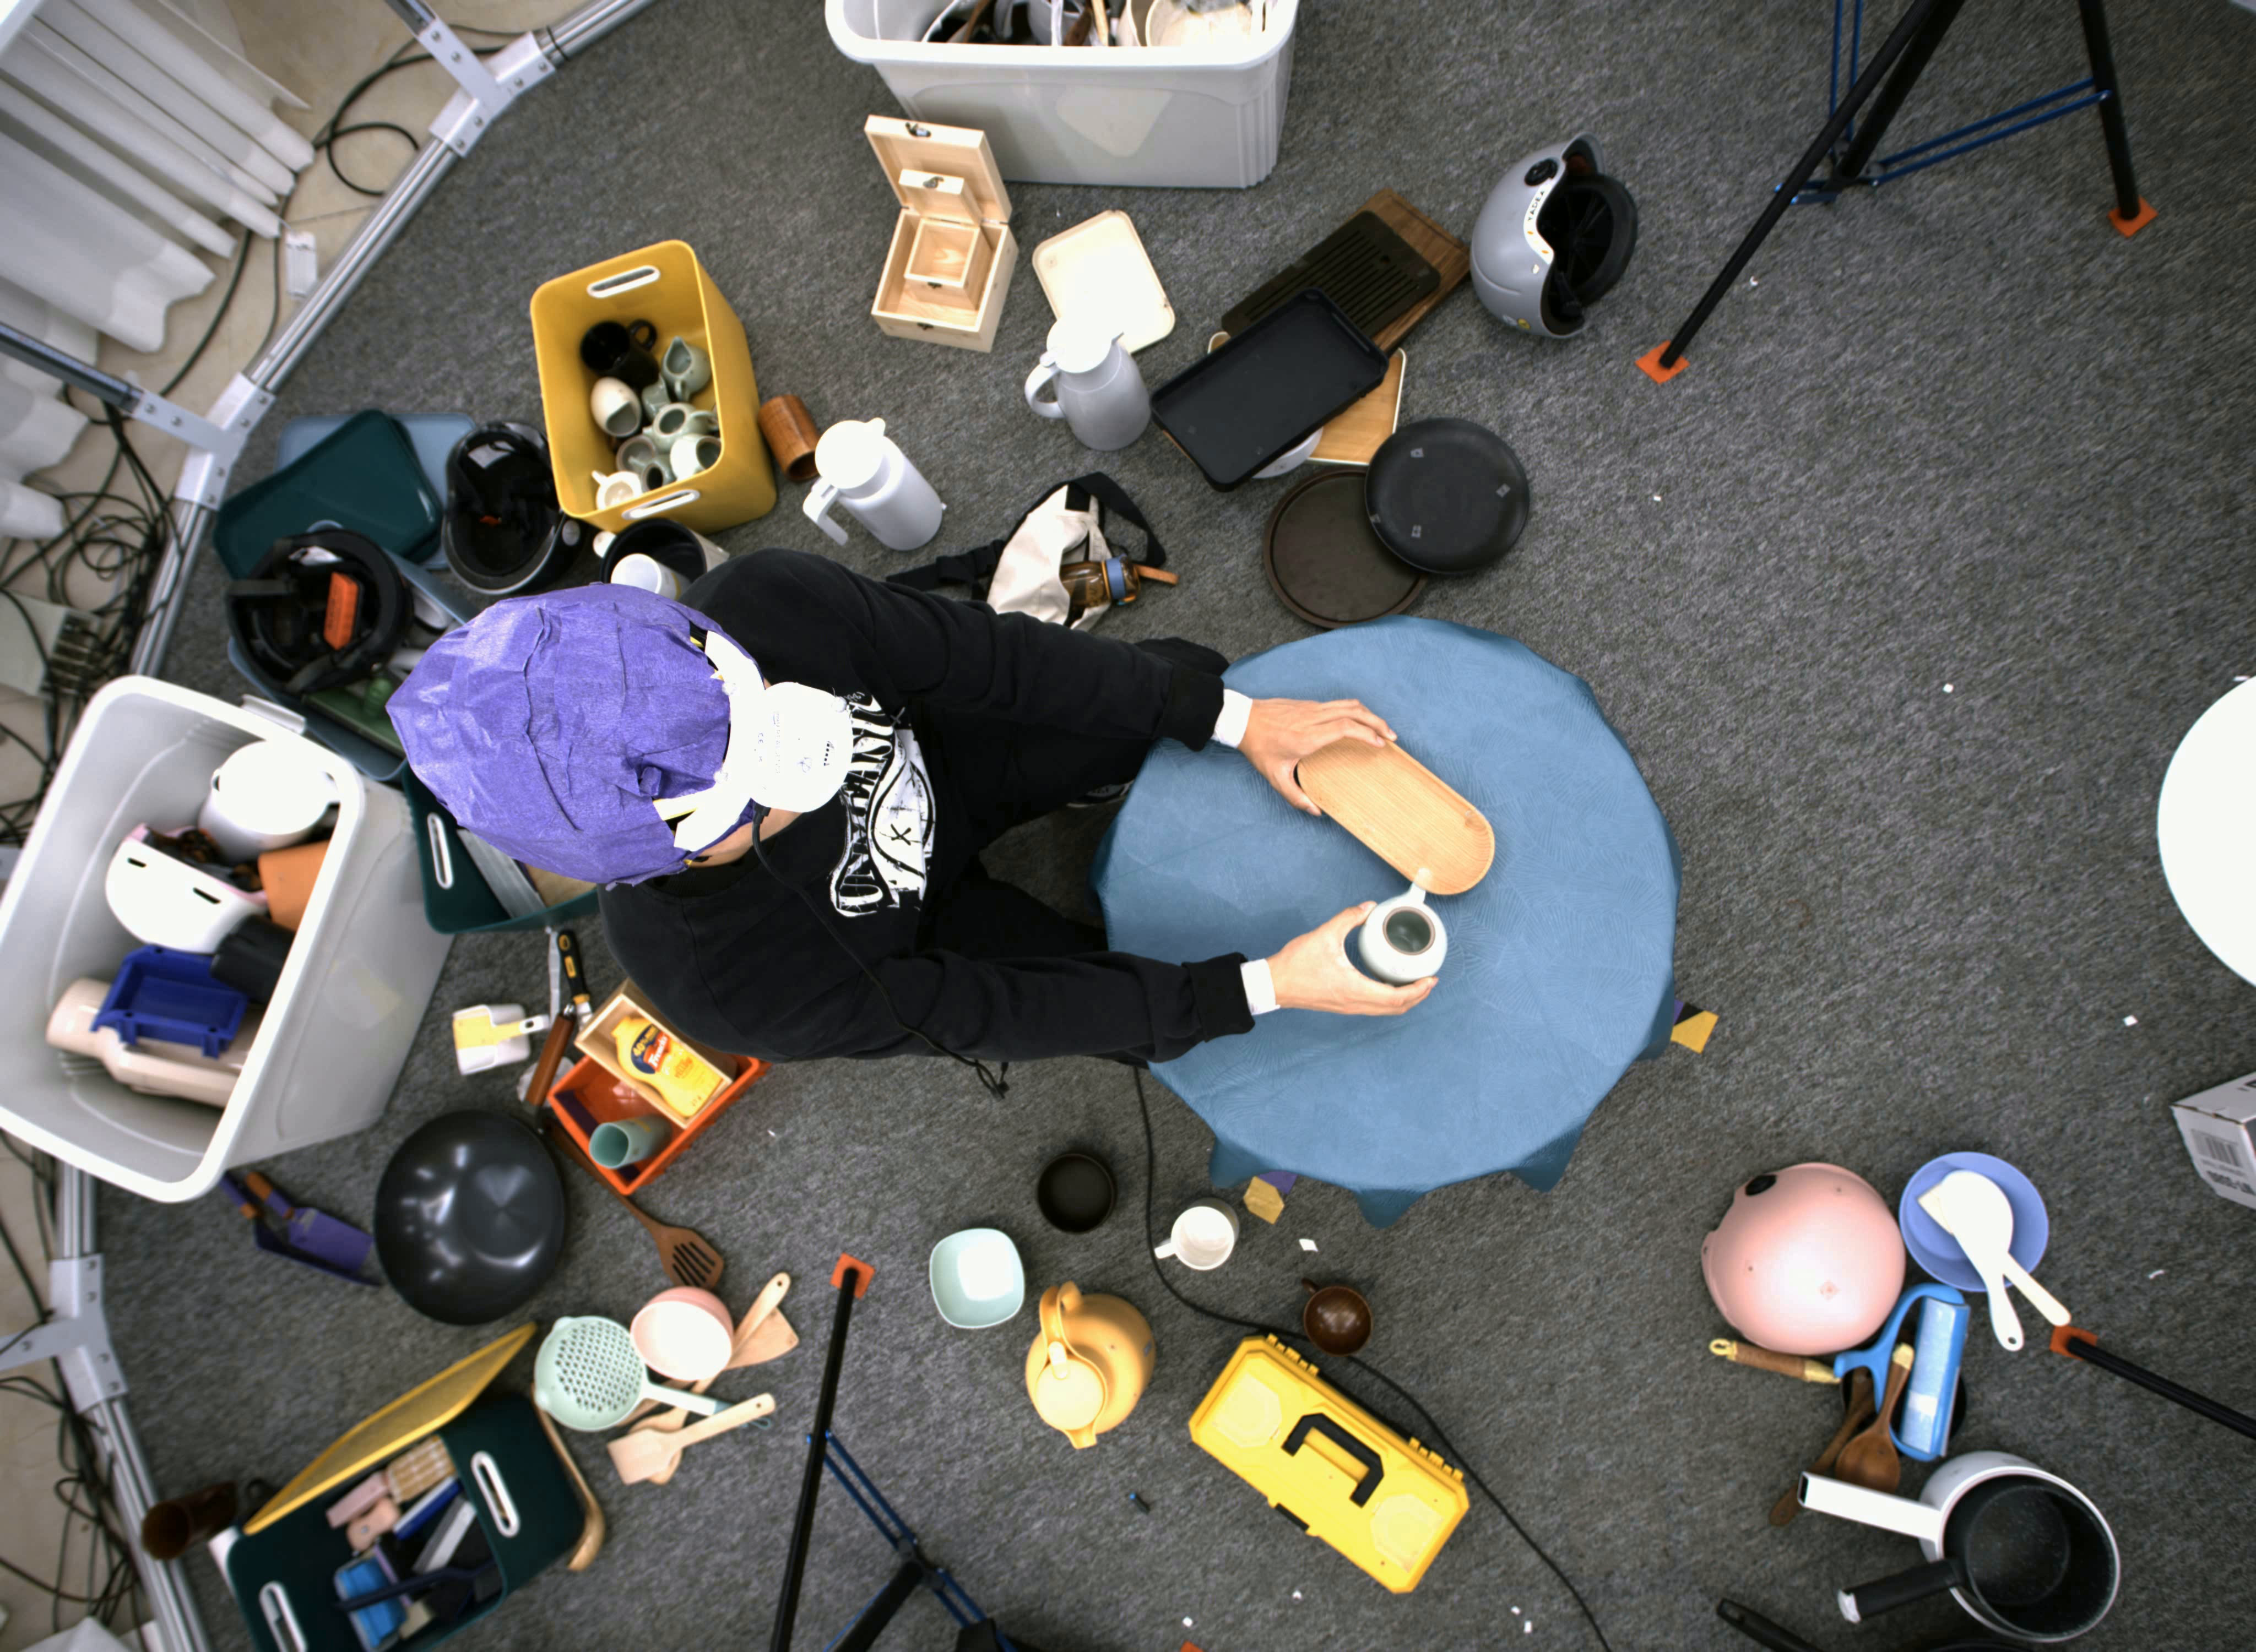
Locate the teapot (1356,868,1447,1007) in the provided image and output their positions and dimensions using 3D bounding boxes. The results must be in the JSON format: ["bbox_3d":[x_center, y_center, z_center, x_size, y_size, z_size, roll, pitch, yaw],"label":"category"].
[{"bbox_3d":[0.269,0.114,1.360,0.088,0.076,0.140,19,64,7],"label":"teapot"}]

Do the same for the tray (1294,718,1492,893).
[{"bbox_3d":[0.275,-0.023,1.434,0.230,0.020,0.102,39,96,10],"label":"tray"}]
